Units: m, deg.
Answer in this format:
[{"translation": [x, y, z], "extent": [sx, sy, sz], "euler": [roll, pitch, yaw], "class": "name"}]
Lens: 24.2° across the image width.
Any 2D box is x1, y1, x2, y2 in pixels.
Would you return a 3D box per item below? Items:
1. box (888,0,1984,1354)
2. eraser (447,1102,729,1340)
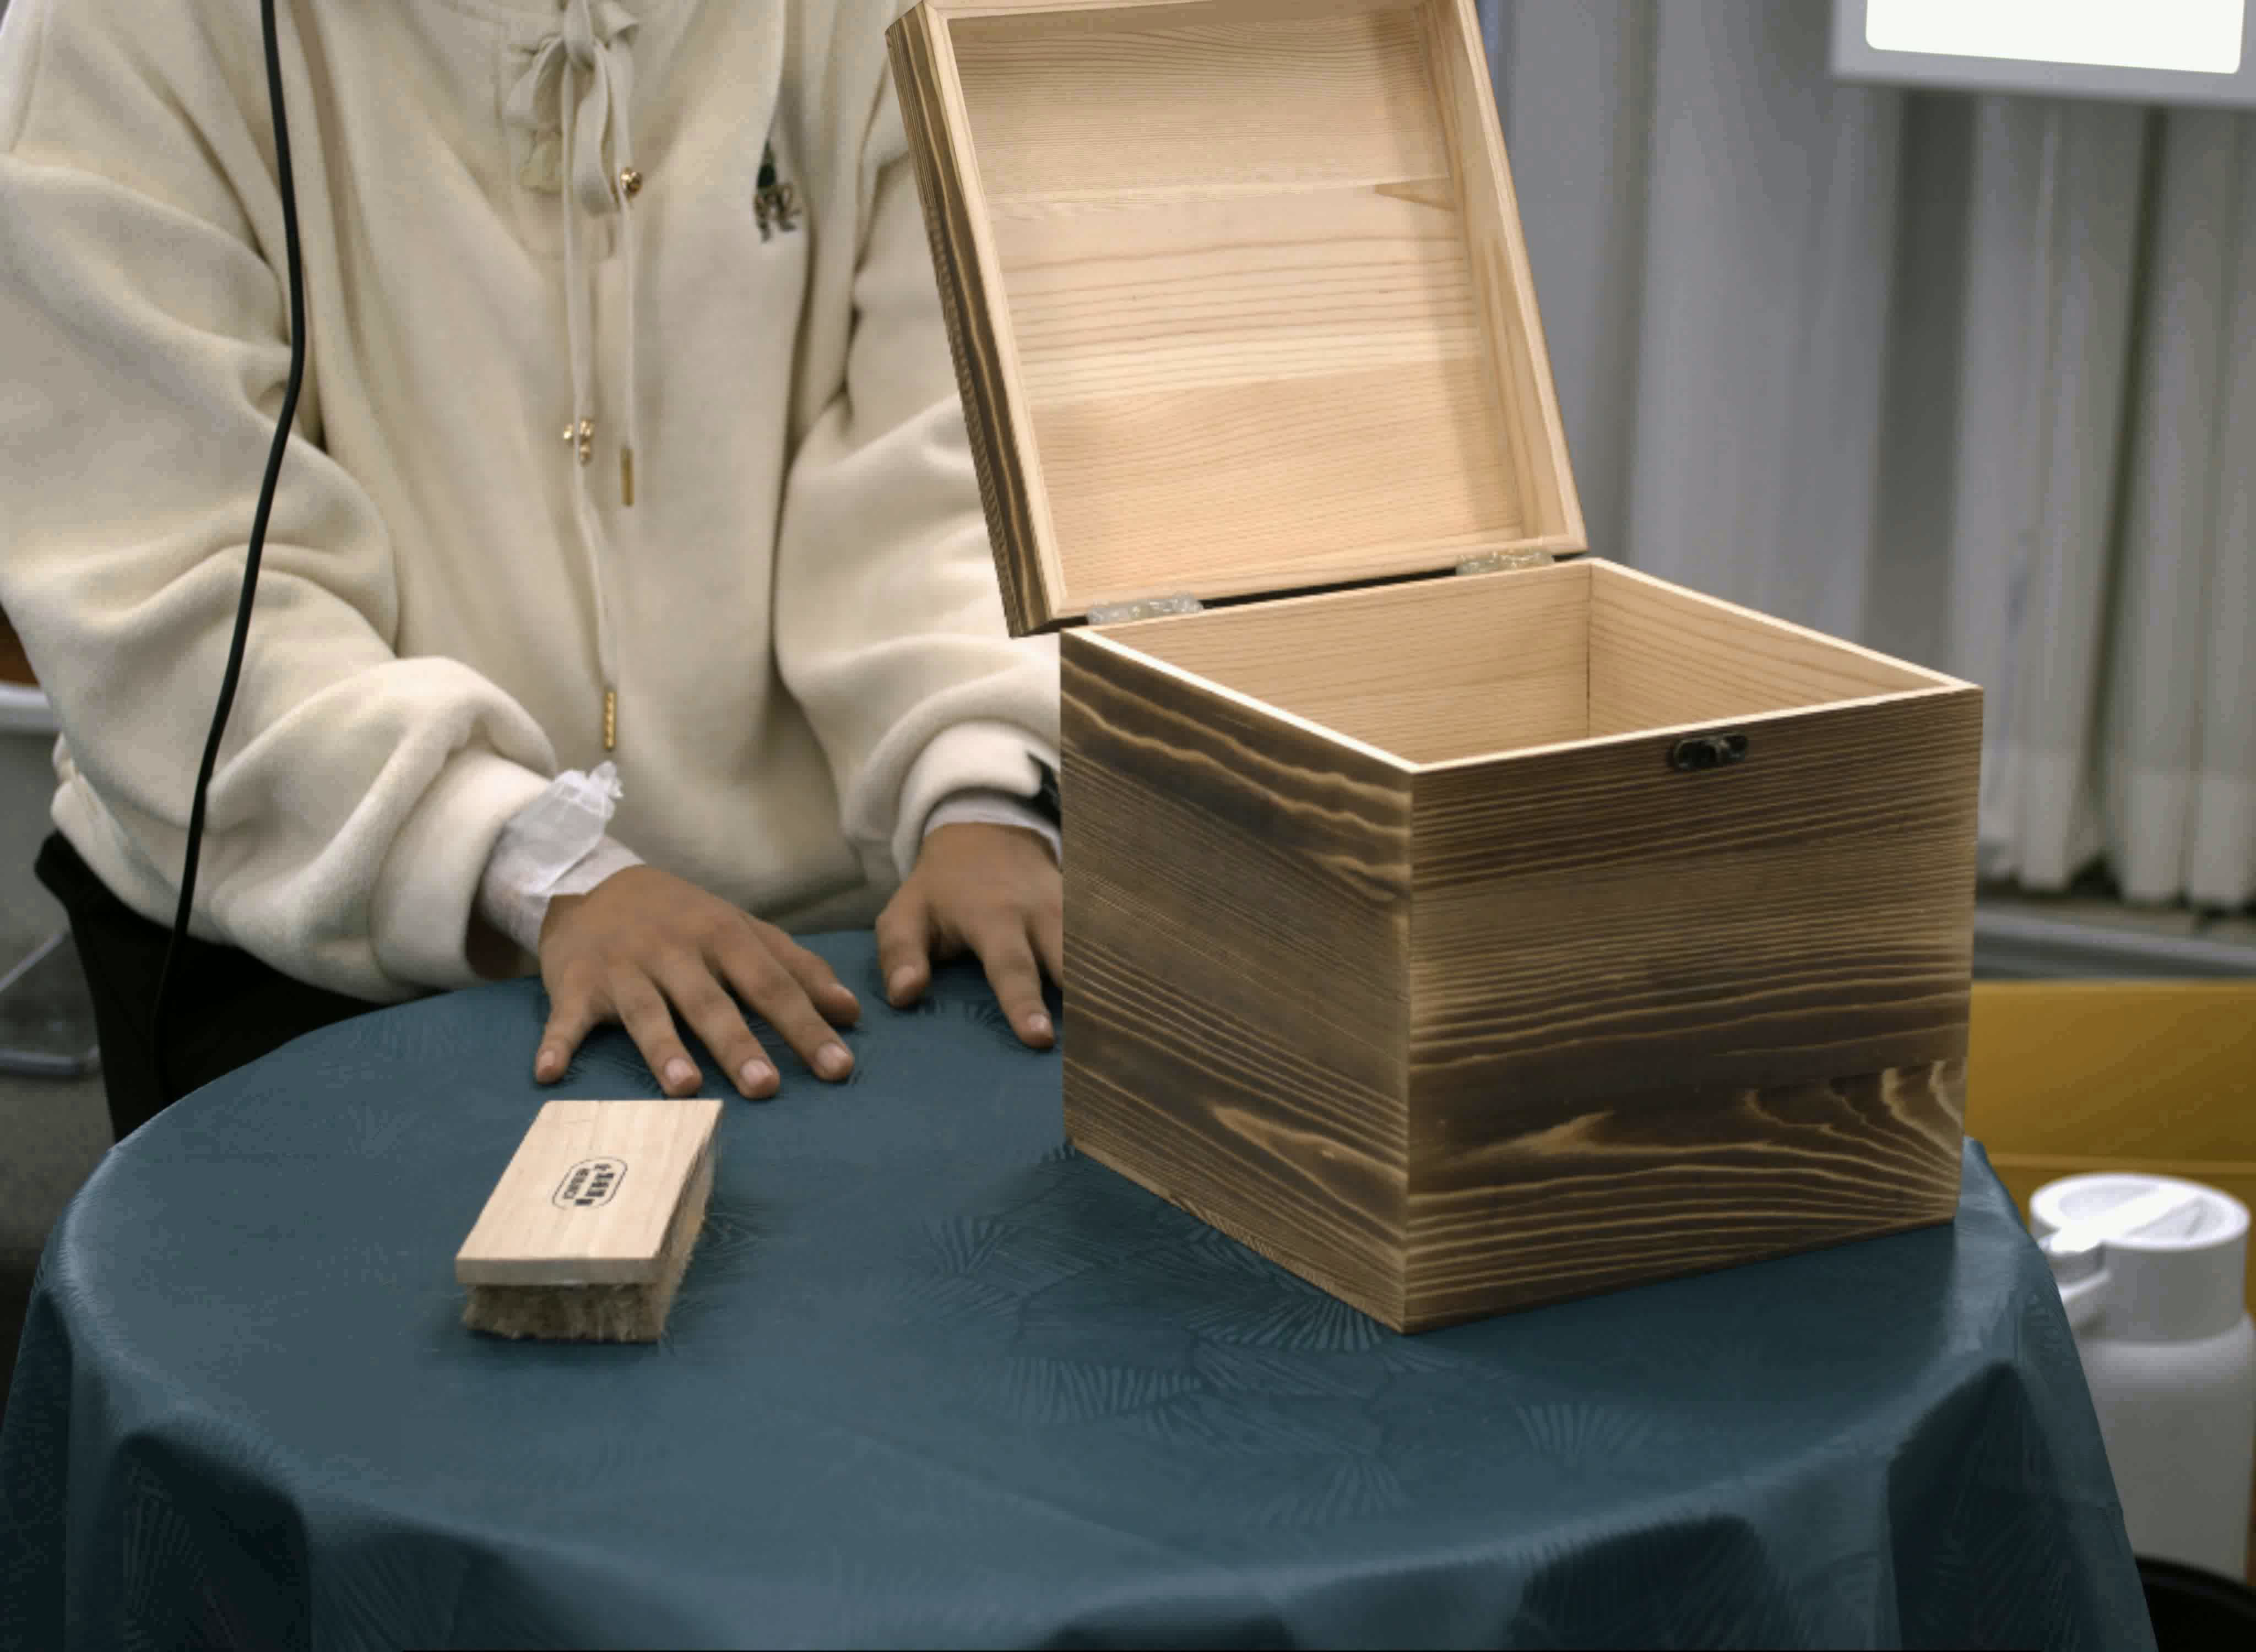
[{"translation": [0.088, -0.076, 1.620], "extent": [0.209, 0.378, 0.318], "euler": [-10, 19, -29], "class": "box"}, {"translation": [-0.157, 0.115, 1.551], "extent": [0.057, 0.029, 0.139], "euler": [0, 15, 6], "class": "eraser"}]
